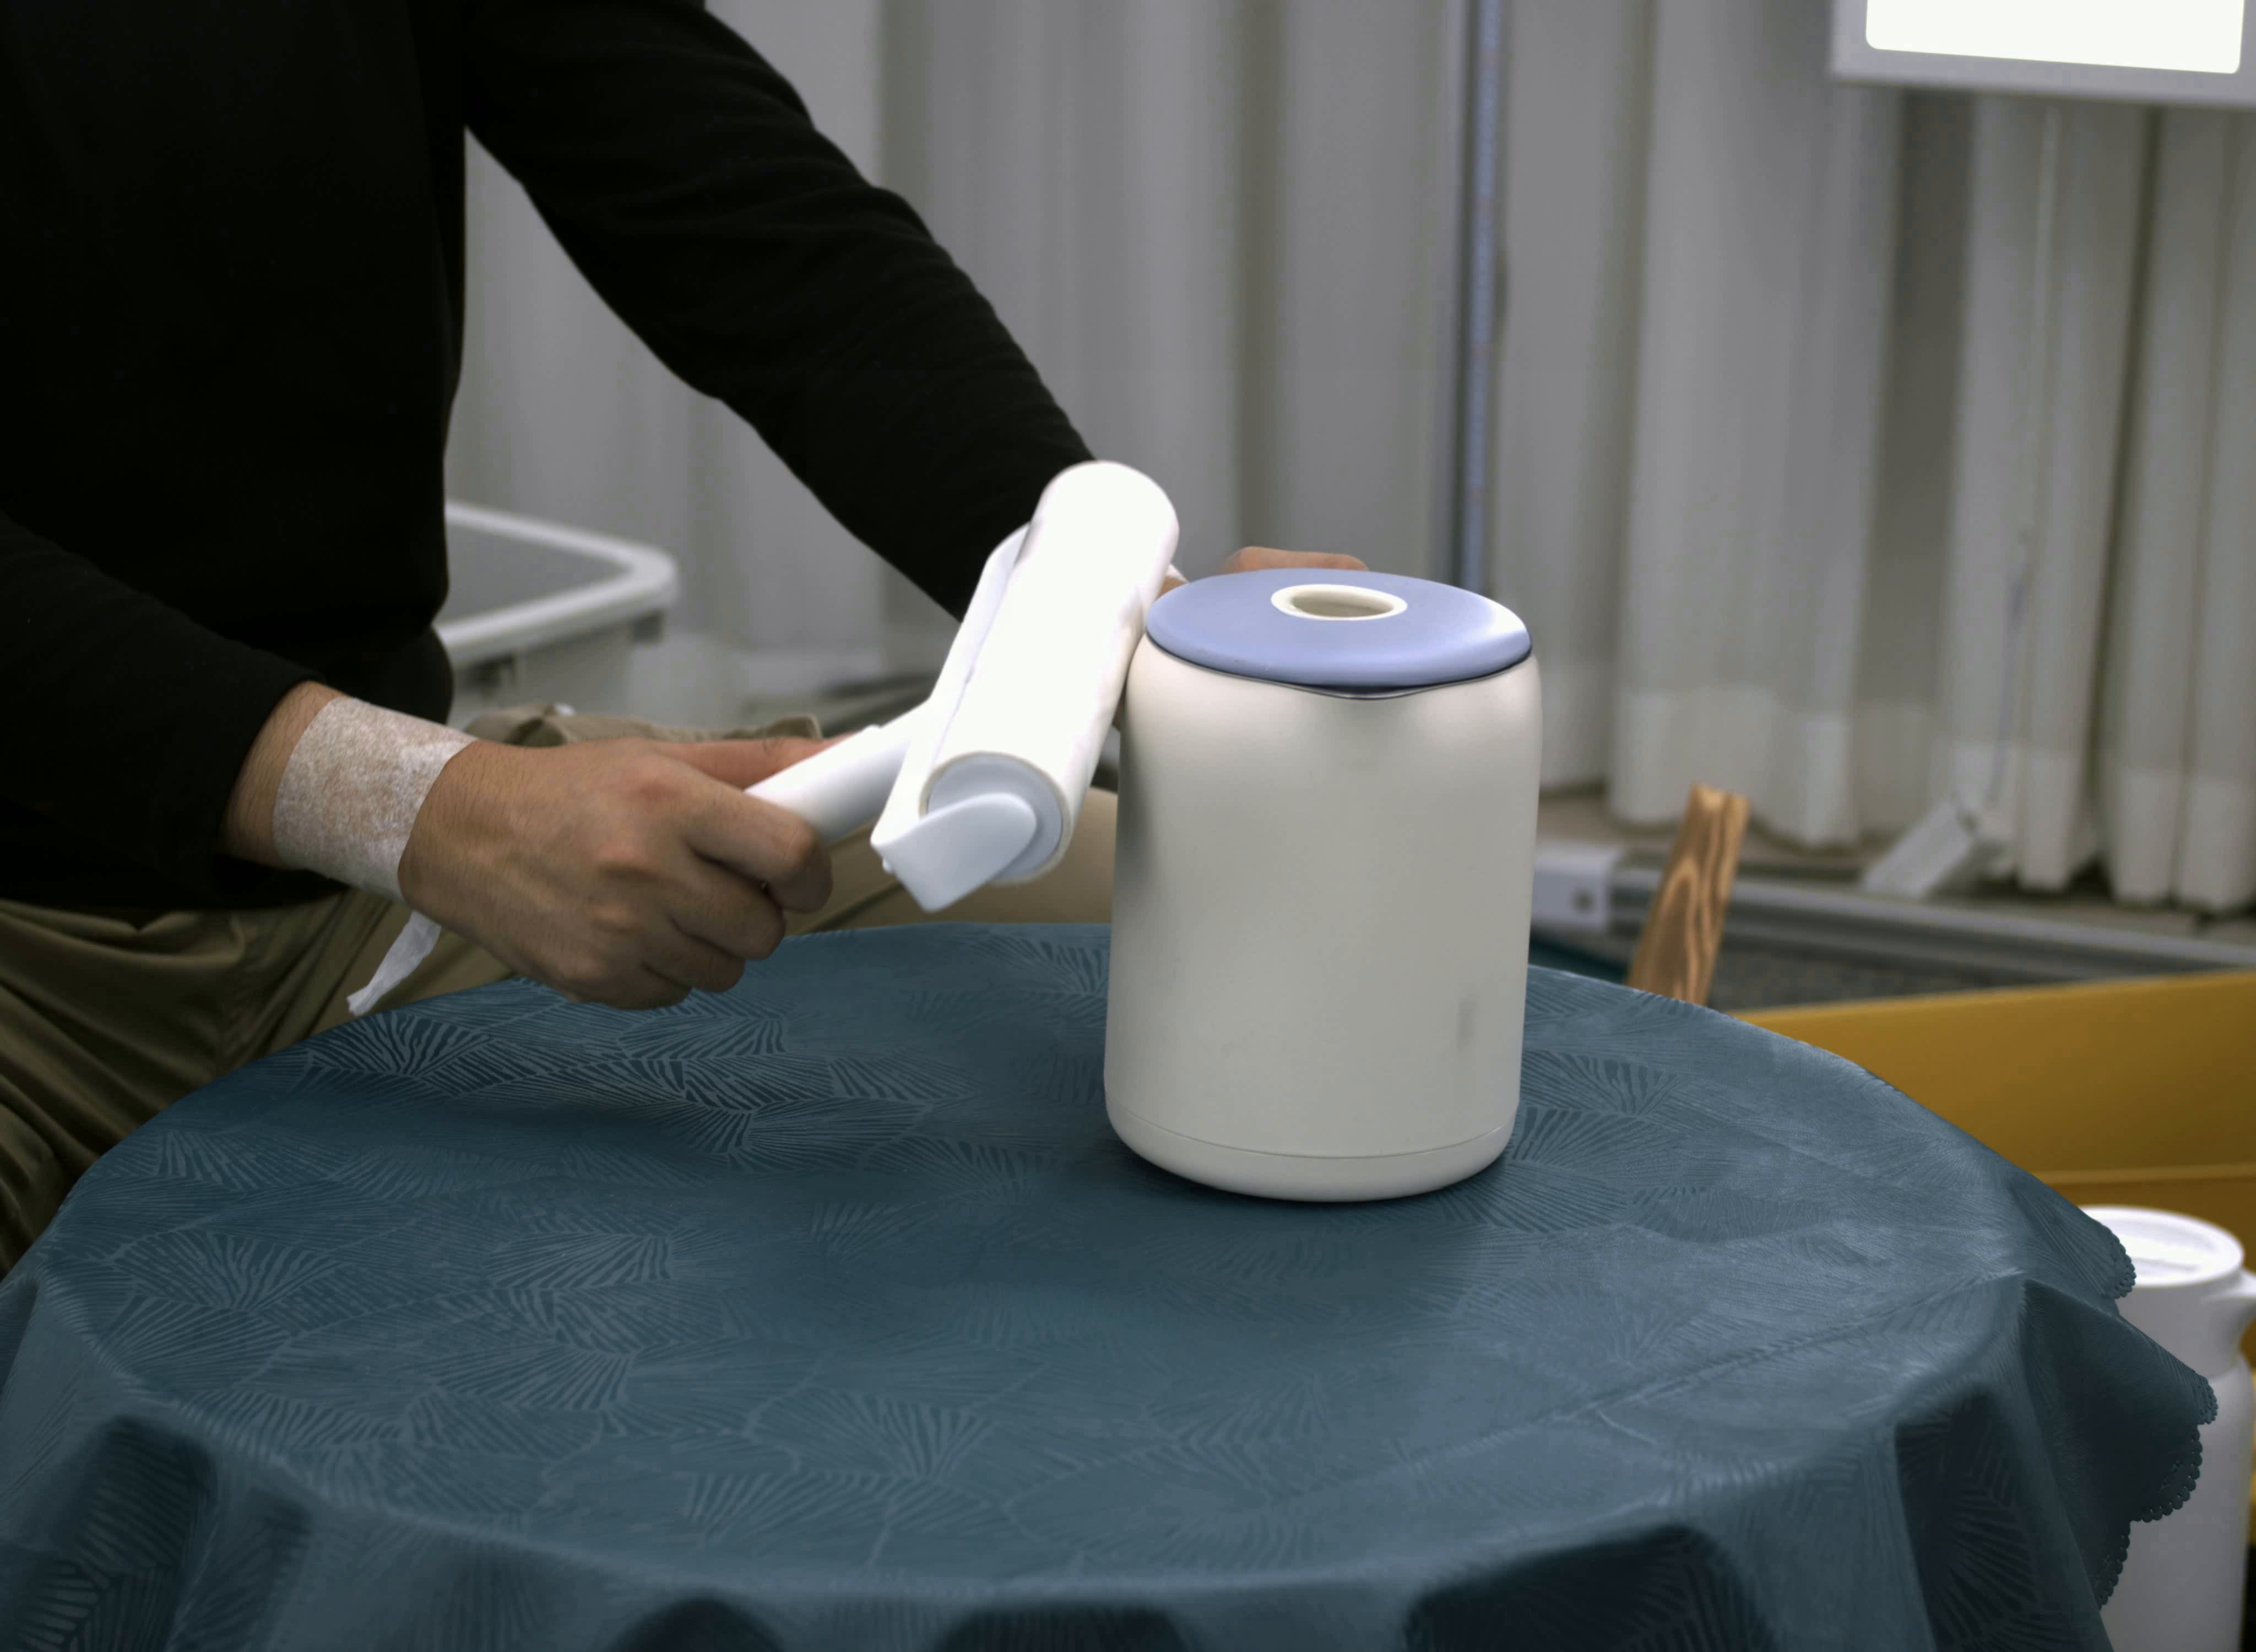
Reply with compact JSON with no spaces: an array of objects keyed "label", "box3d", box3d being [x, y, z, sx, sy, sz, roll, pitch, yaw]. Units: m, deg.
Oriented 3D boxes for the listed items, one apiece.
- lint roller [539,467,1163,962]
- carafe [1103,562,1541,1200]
[{"label":"lint roller","box3d":[-0.098,-0.016,1.654,0.224,0.049,0.201,-24,23,22]},{"label":"carafe","box3d":[0.057,0.009,1.660,0.132,0.184,0.189,1,15,-8]}]
